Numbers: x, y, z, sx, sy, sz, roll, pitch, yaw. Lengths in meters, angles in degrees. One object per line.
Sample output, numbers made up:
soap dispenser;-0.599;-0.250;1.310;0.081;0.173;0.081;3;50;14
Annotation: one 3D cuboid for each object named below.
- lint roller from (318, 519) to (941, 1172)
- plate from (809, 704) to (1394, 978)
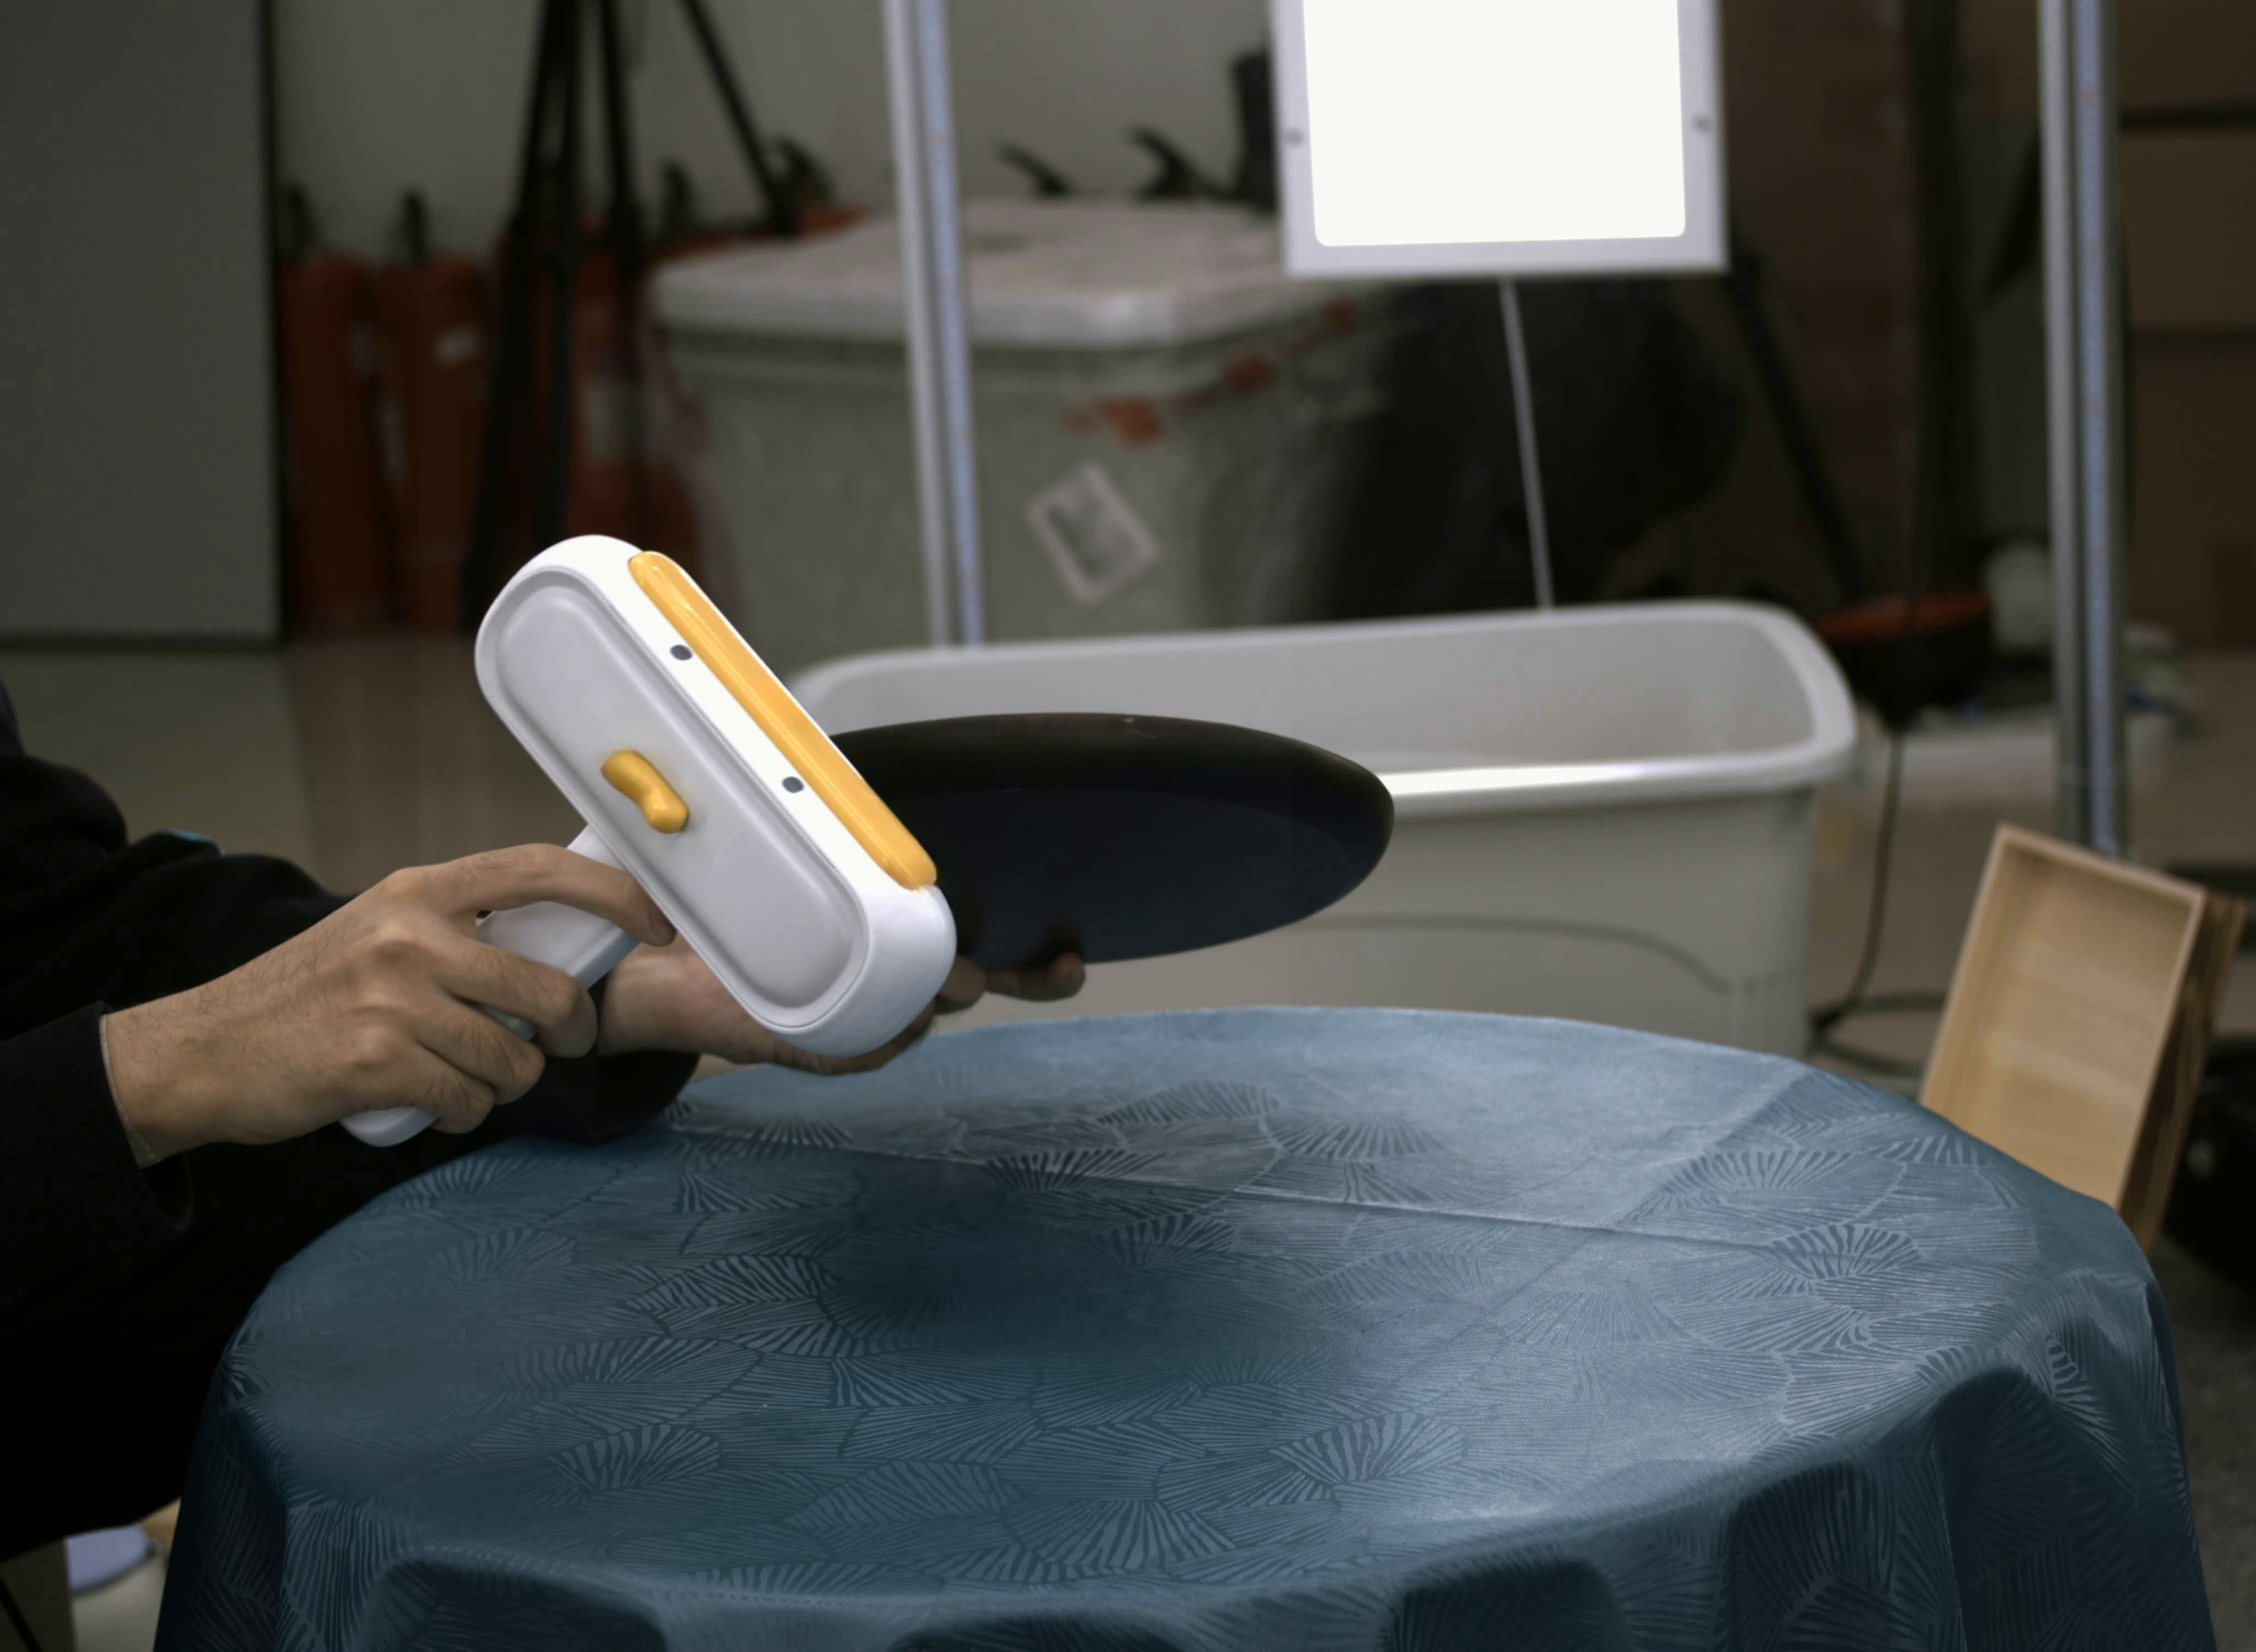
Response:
lint roller;-0.175;0.028;1.715;0.194;0.194;0.073;44;13;17
plate;-0.034;0.009;1.883;0.254;0.029;0.256;-2;-19;-2
